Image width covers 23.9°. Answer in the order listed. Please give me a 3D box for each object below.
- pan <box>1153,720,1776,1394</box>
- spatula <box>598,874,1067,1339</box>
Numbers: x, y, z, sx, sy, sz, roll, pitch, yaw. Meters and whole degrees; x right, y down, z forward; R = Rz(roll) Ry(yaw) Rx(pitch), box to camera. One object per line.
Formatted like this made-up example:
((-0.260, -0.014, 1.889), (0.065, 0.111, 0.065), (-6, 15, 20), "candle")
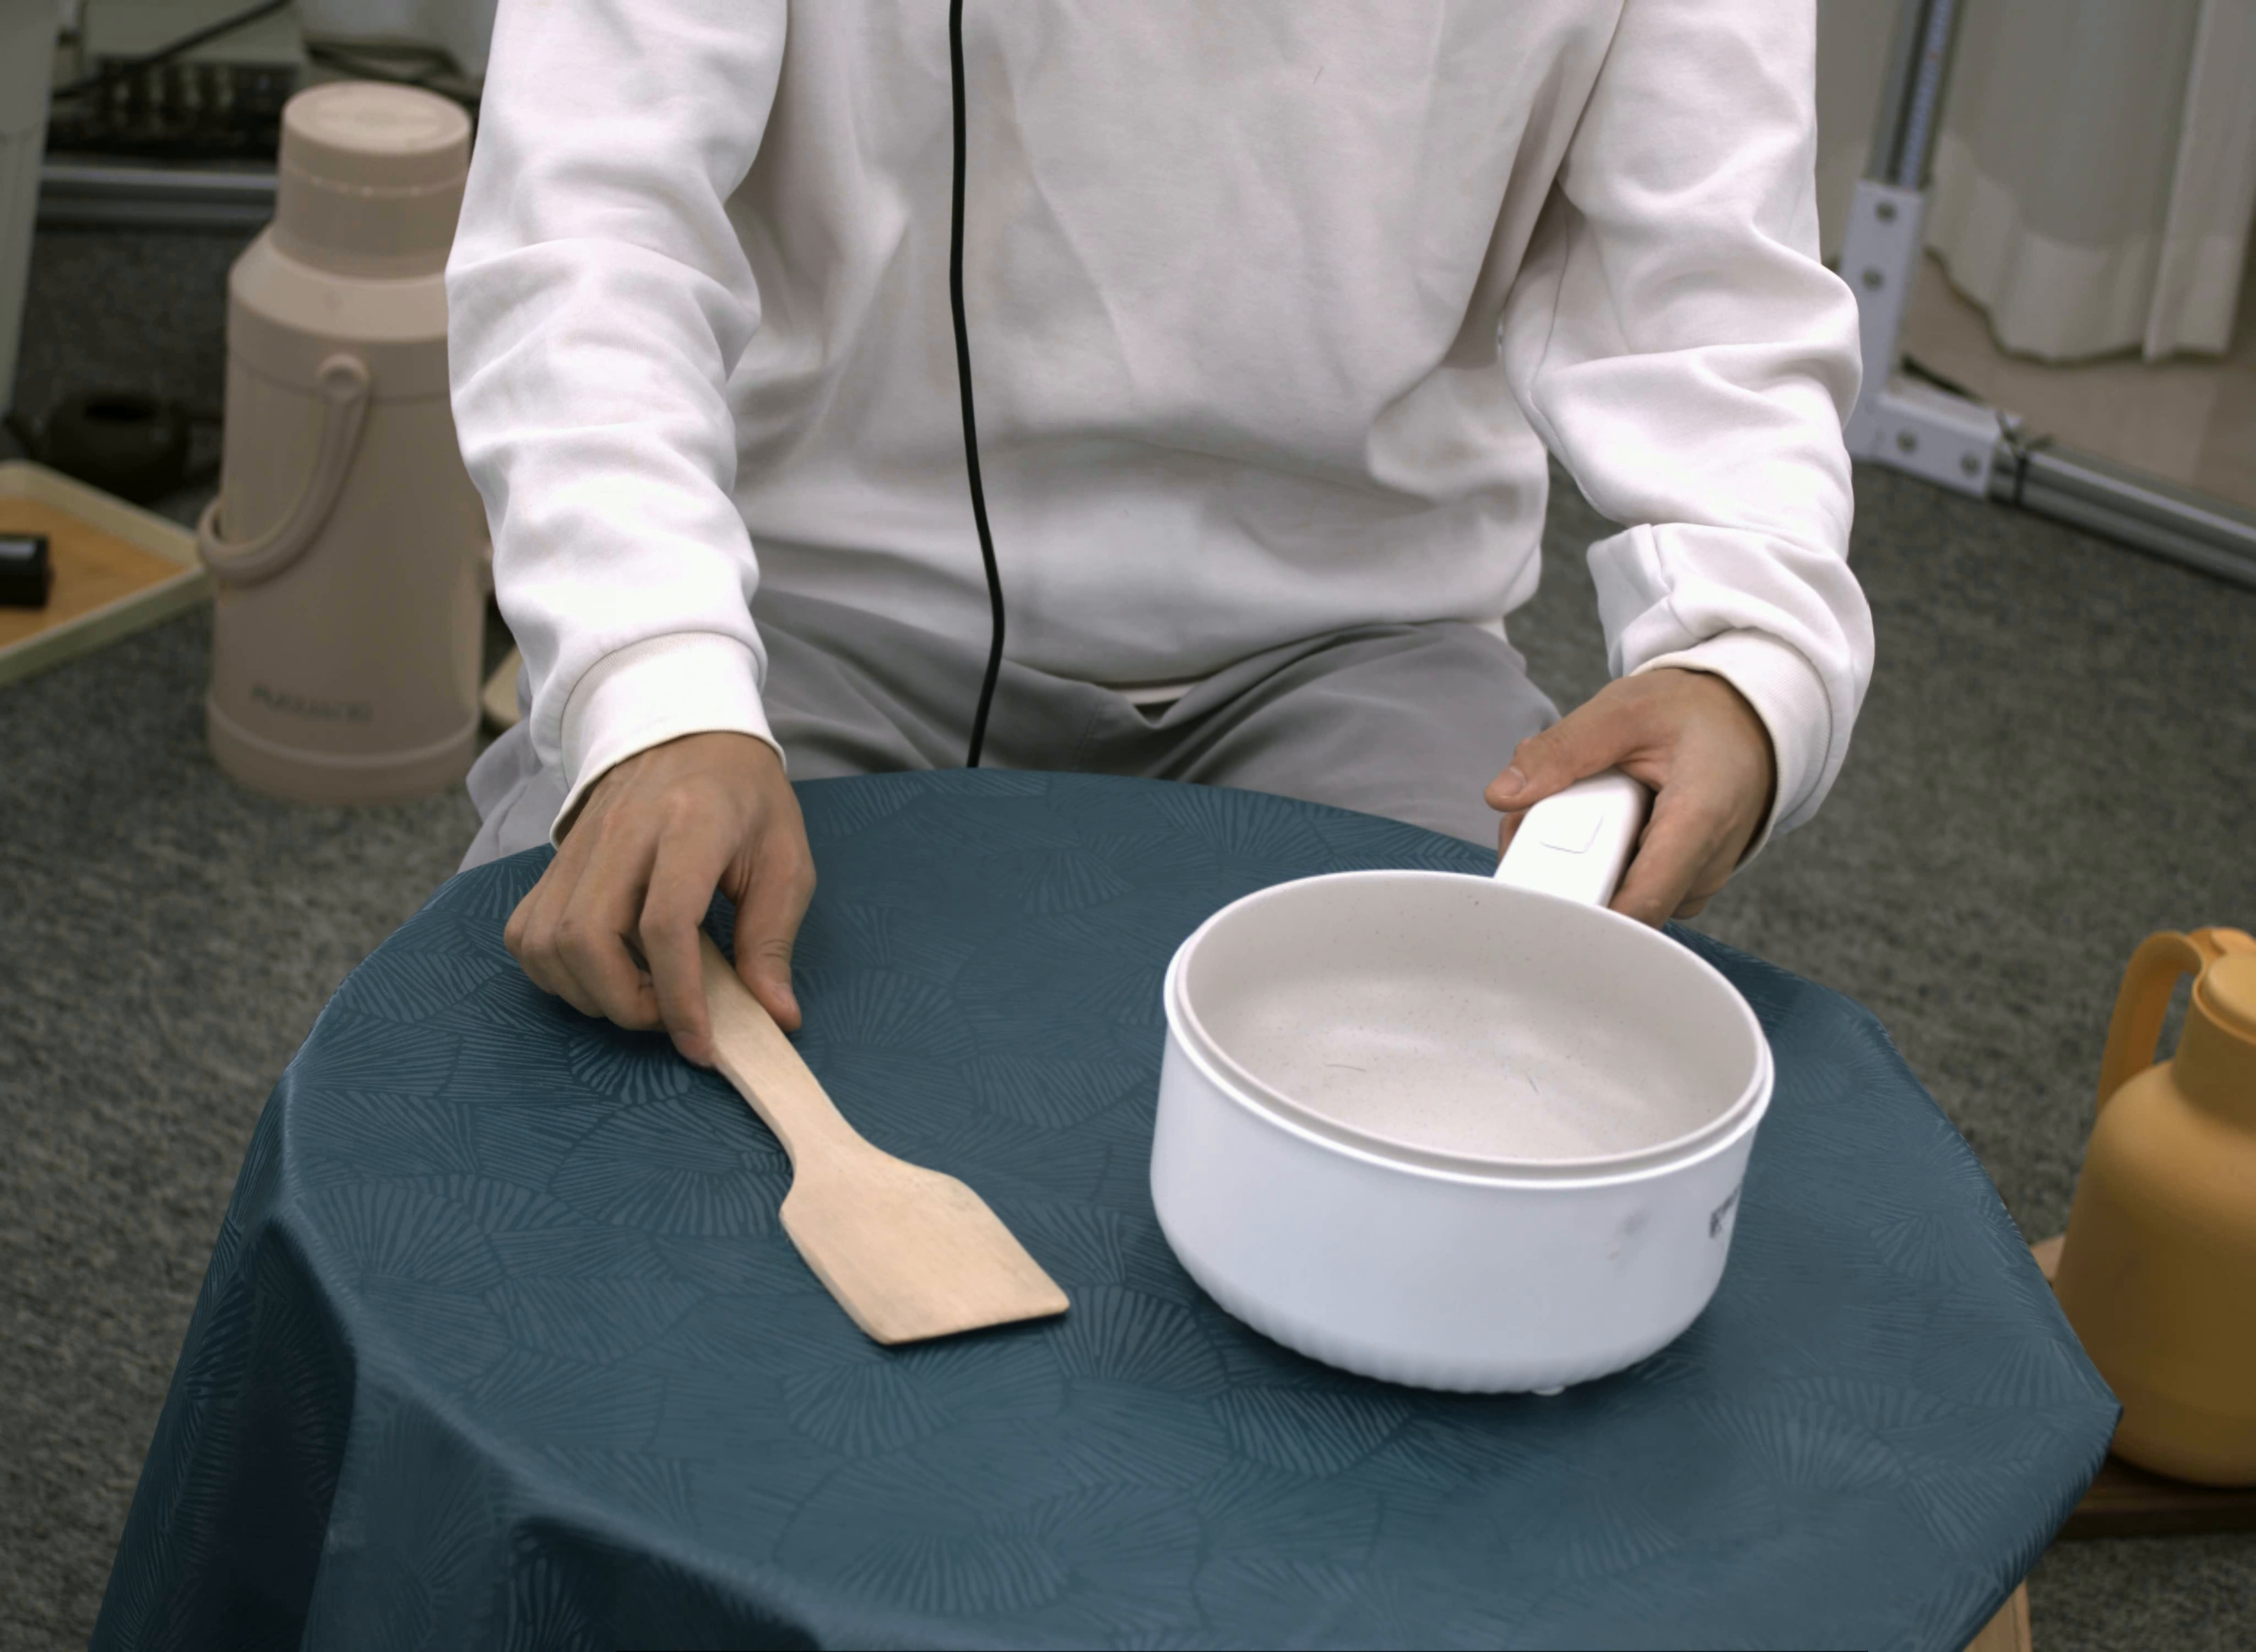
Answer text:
((0.129, 0.074, 1.824), (0.201, 0.102, 0.355), (13, 26, 12), "pan")
((-0.117, 0.091, 1.824), (0.072, 0.010, 0.296), (-9, 33, -27), "spatula")
